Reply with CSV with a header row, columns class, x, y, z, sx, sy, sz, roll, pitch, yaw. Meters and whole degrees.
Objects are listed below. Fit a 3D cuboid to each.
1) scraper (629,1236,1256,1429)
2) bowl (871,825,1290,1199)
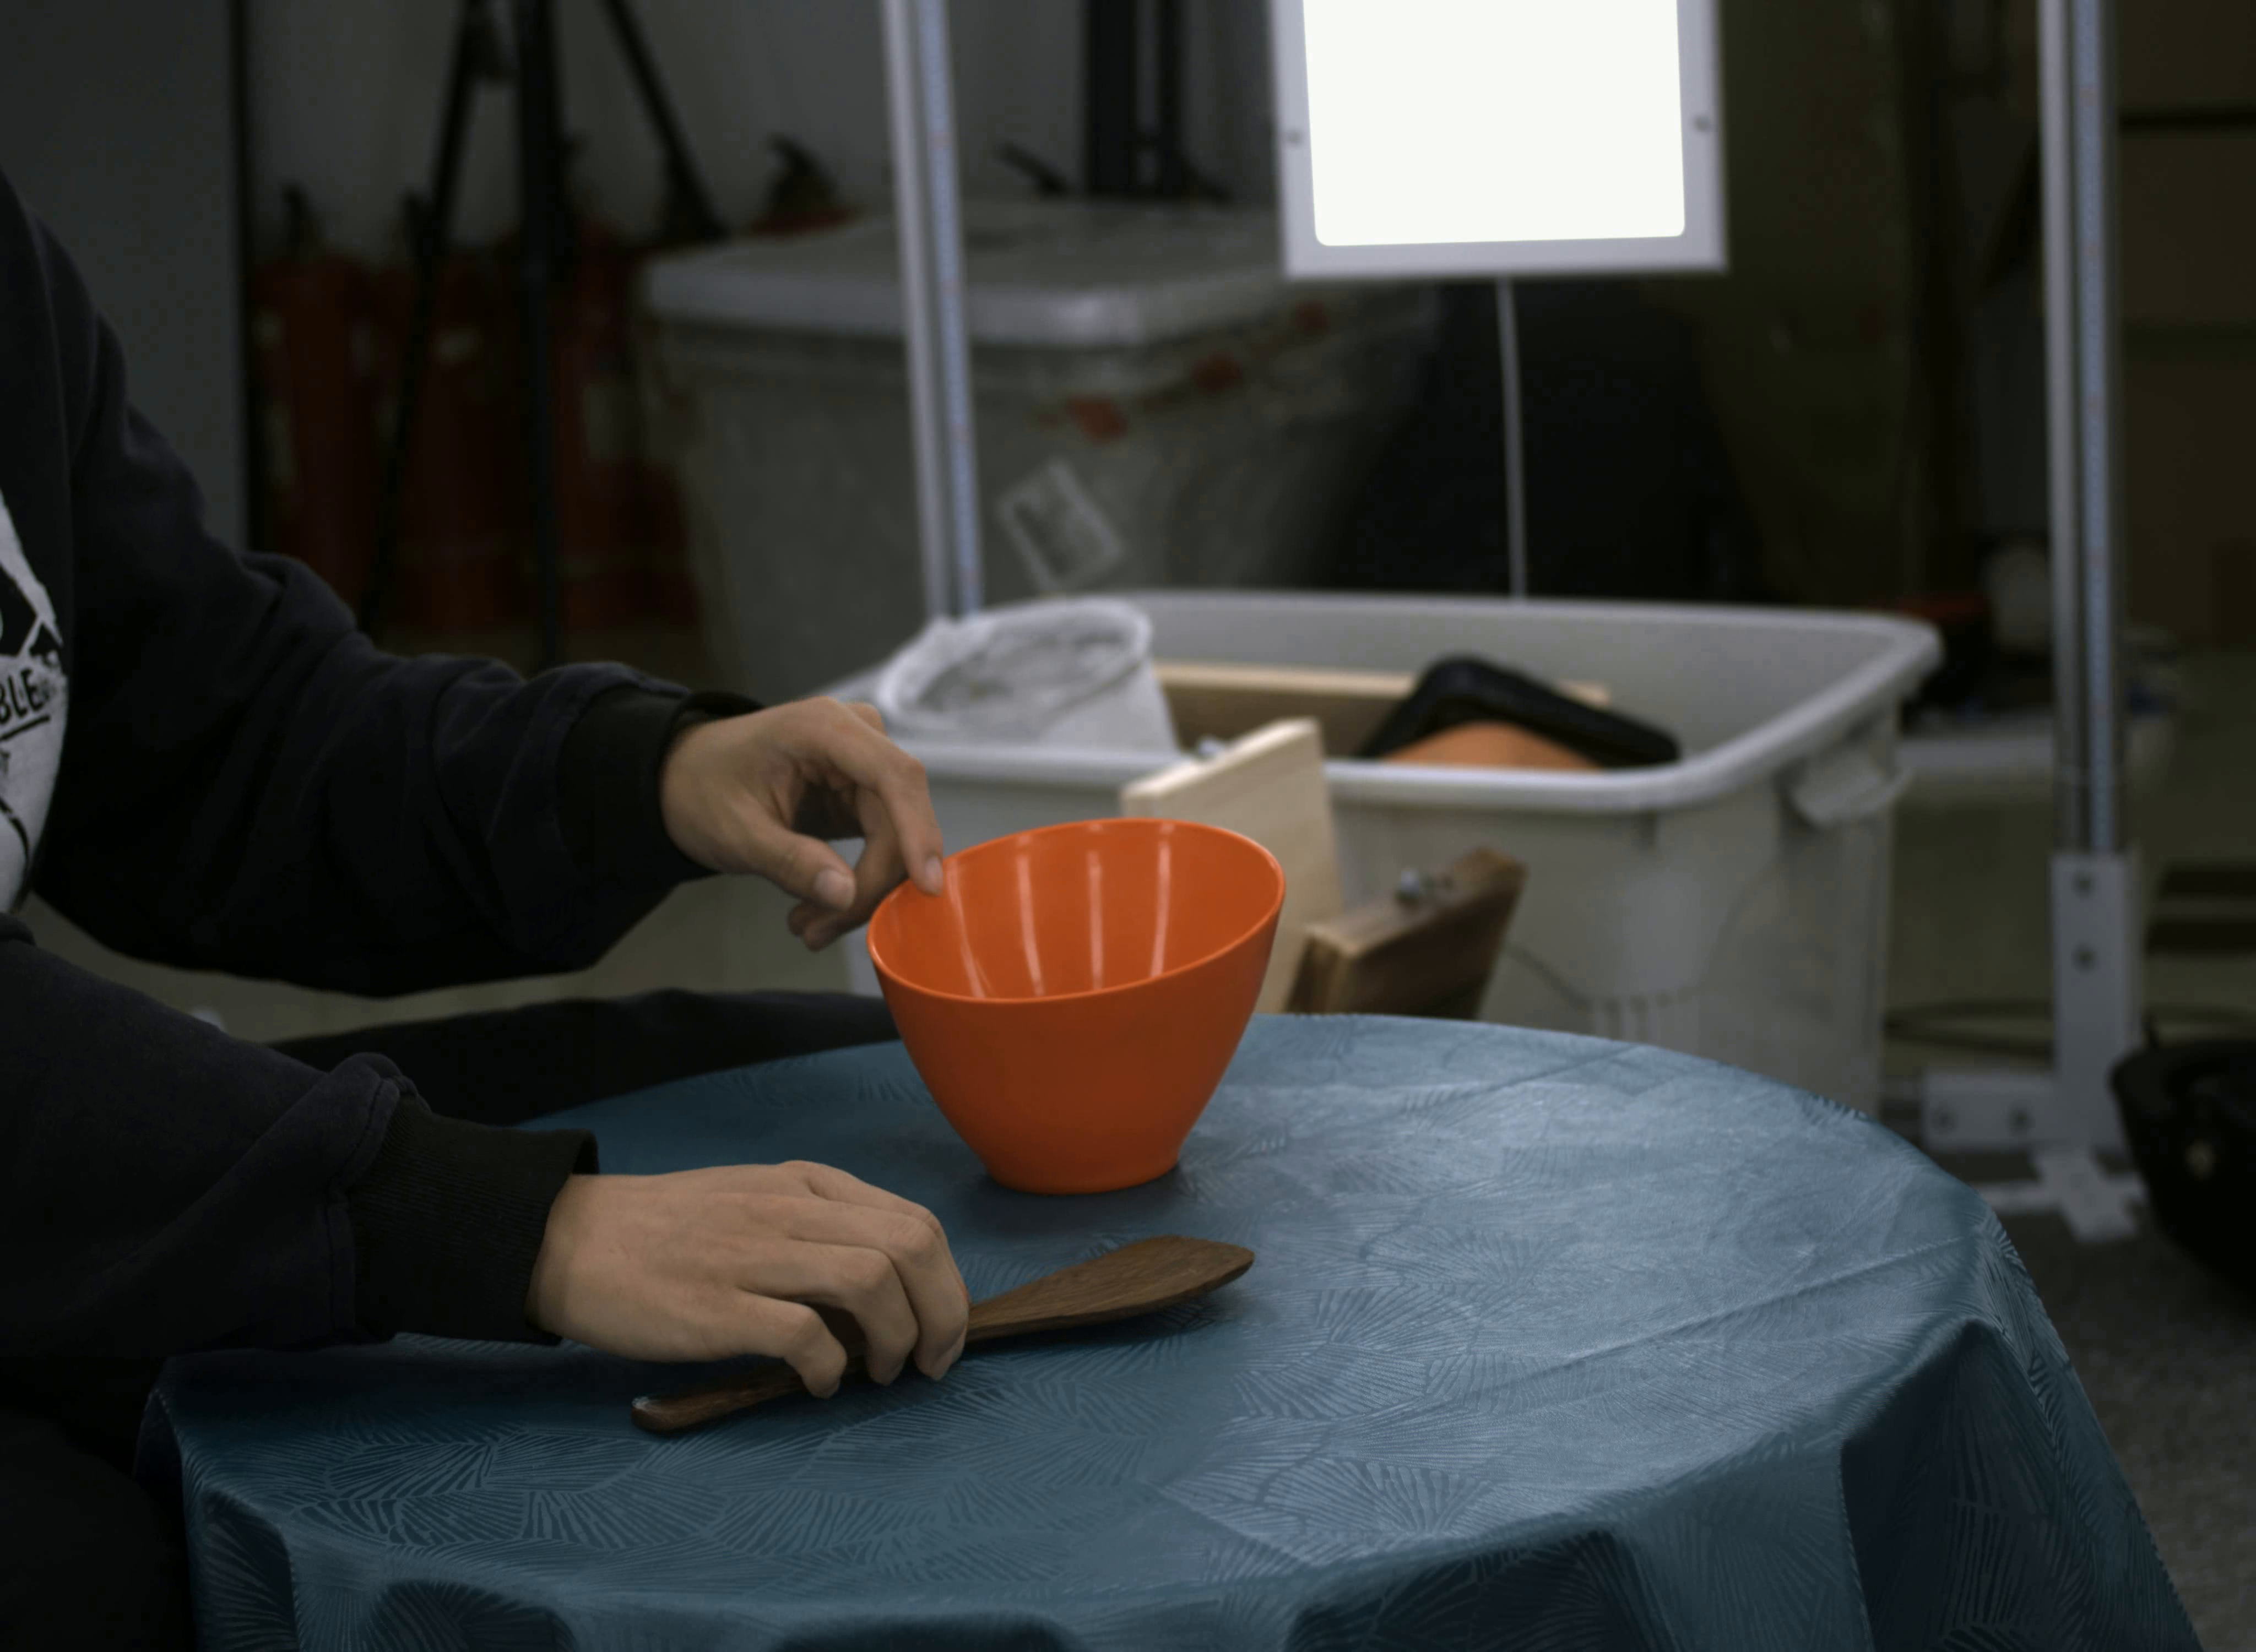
class,x,y,z,sx,sy,sz,roll,pitch,yaw
scraper,-0.060,0.162,1.748,0.207,0.011,0.077,-13,8,-26
bowl,-0.014,0.068,1.927,0.147,0.105,0.148,-4,14,0
